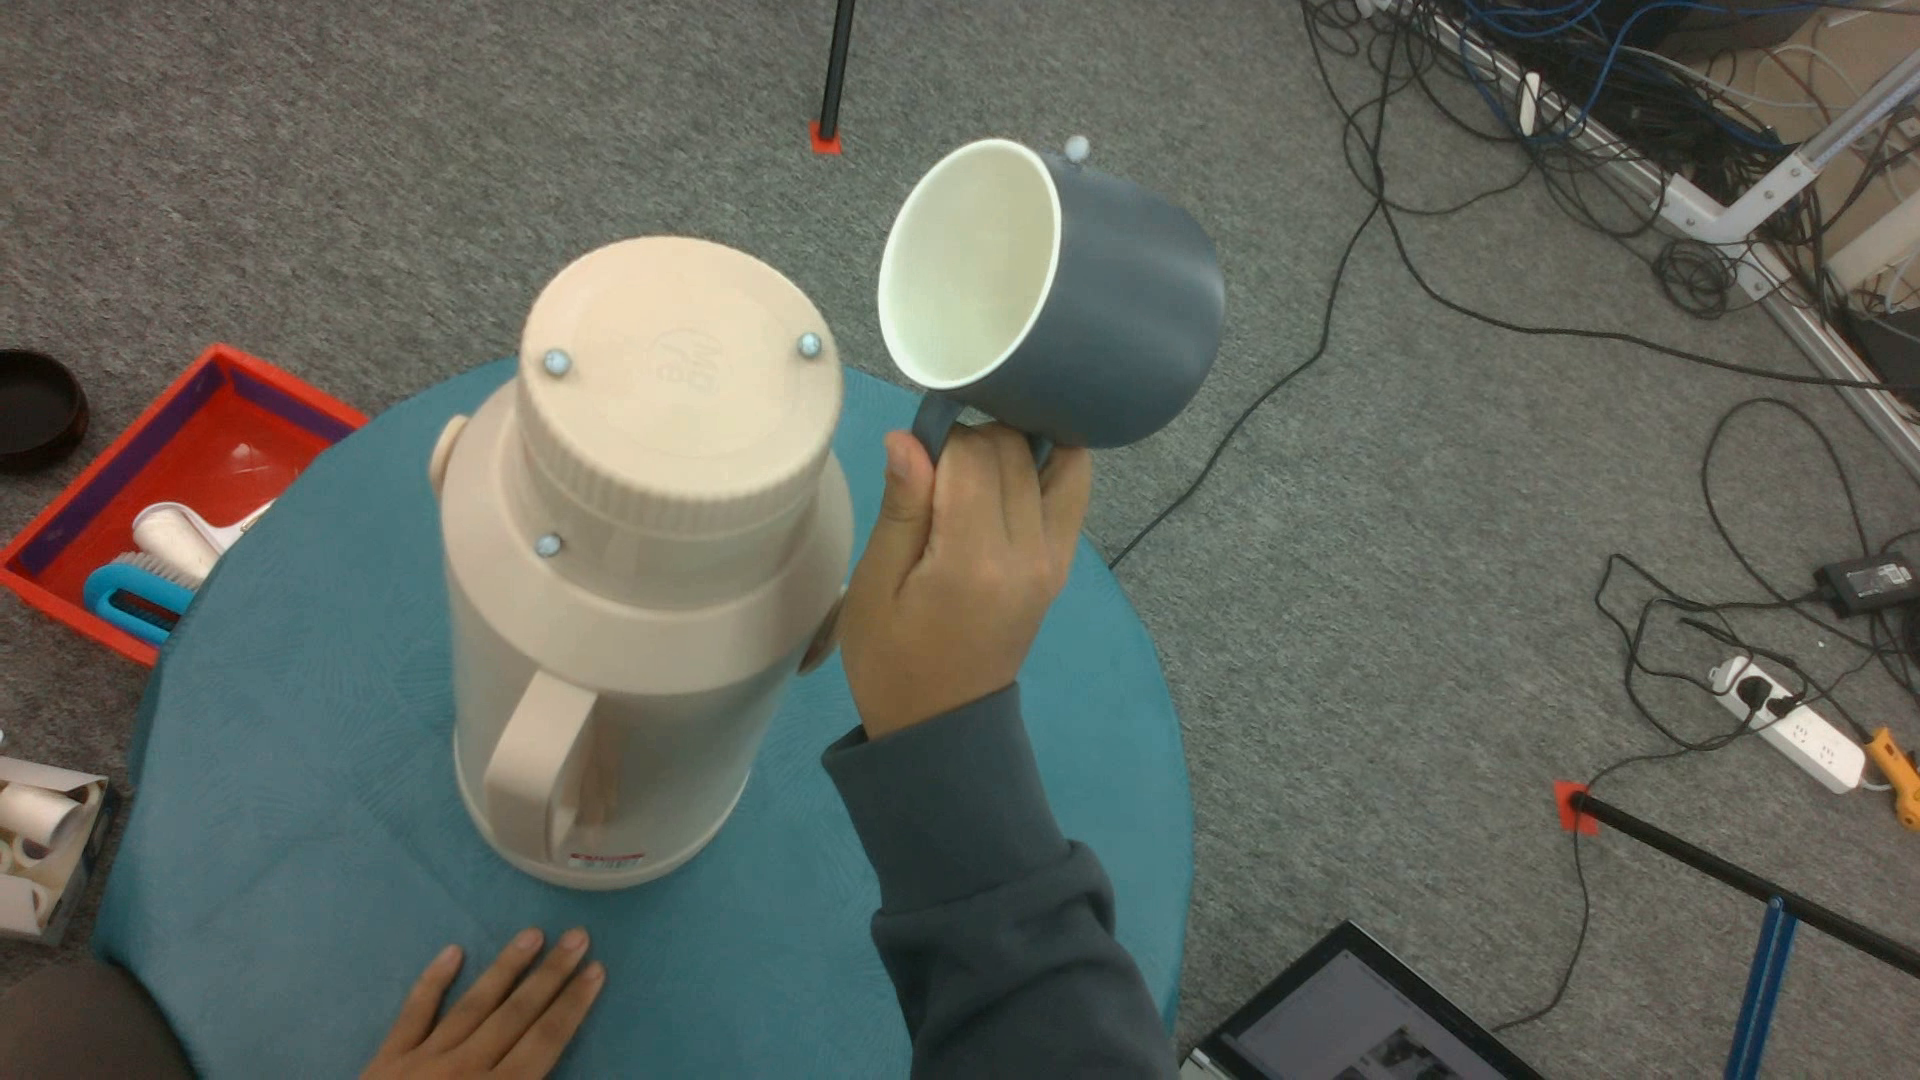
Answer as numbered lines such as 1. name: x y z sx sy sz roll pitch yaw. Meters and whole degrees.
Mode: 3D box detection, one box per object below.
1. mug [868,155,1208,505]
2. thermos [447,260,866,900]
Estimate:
1. mug: 0.021 -0.068 0.480 0.090 0.123 0.093 7 26 -44
2. thermos: -0.148 0.050 0.627 0.175 0.404 0.208 21 58 -6
